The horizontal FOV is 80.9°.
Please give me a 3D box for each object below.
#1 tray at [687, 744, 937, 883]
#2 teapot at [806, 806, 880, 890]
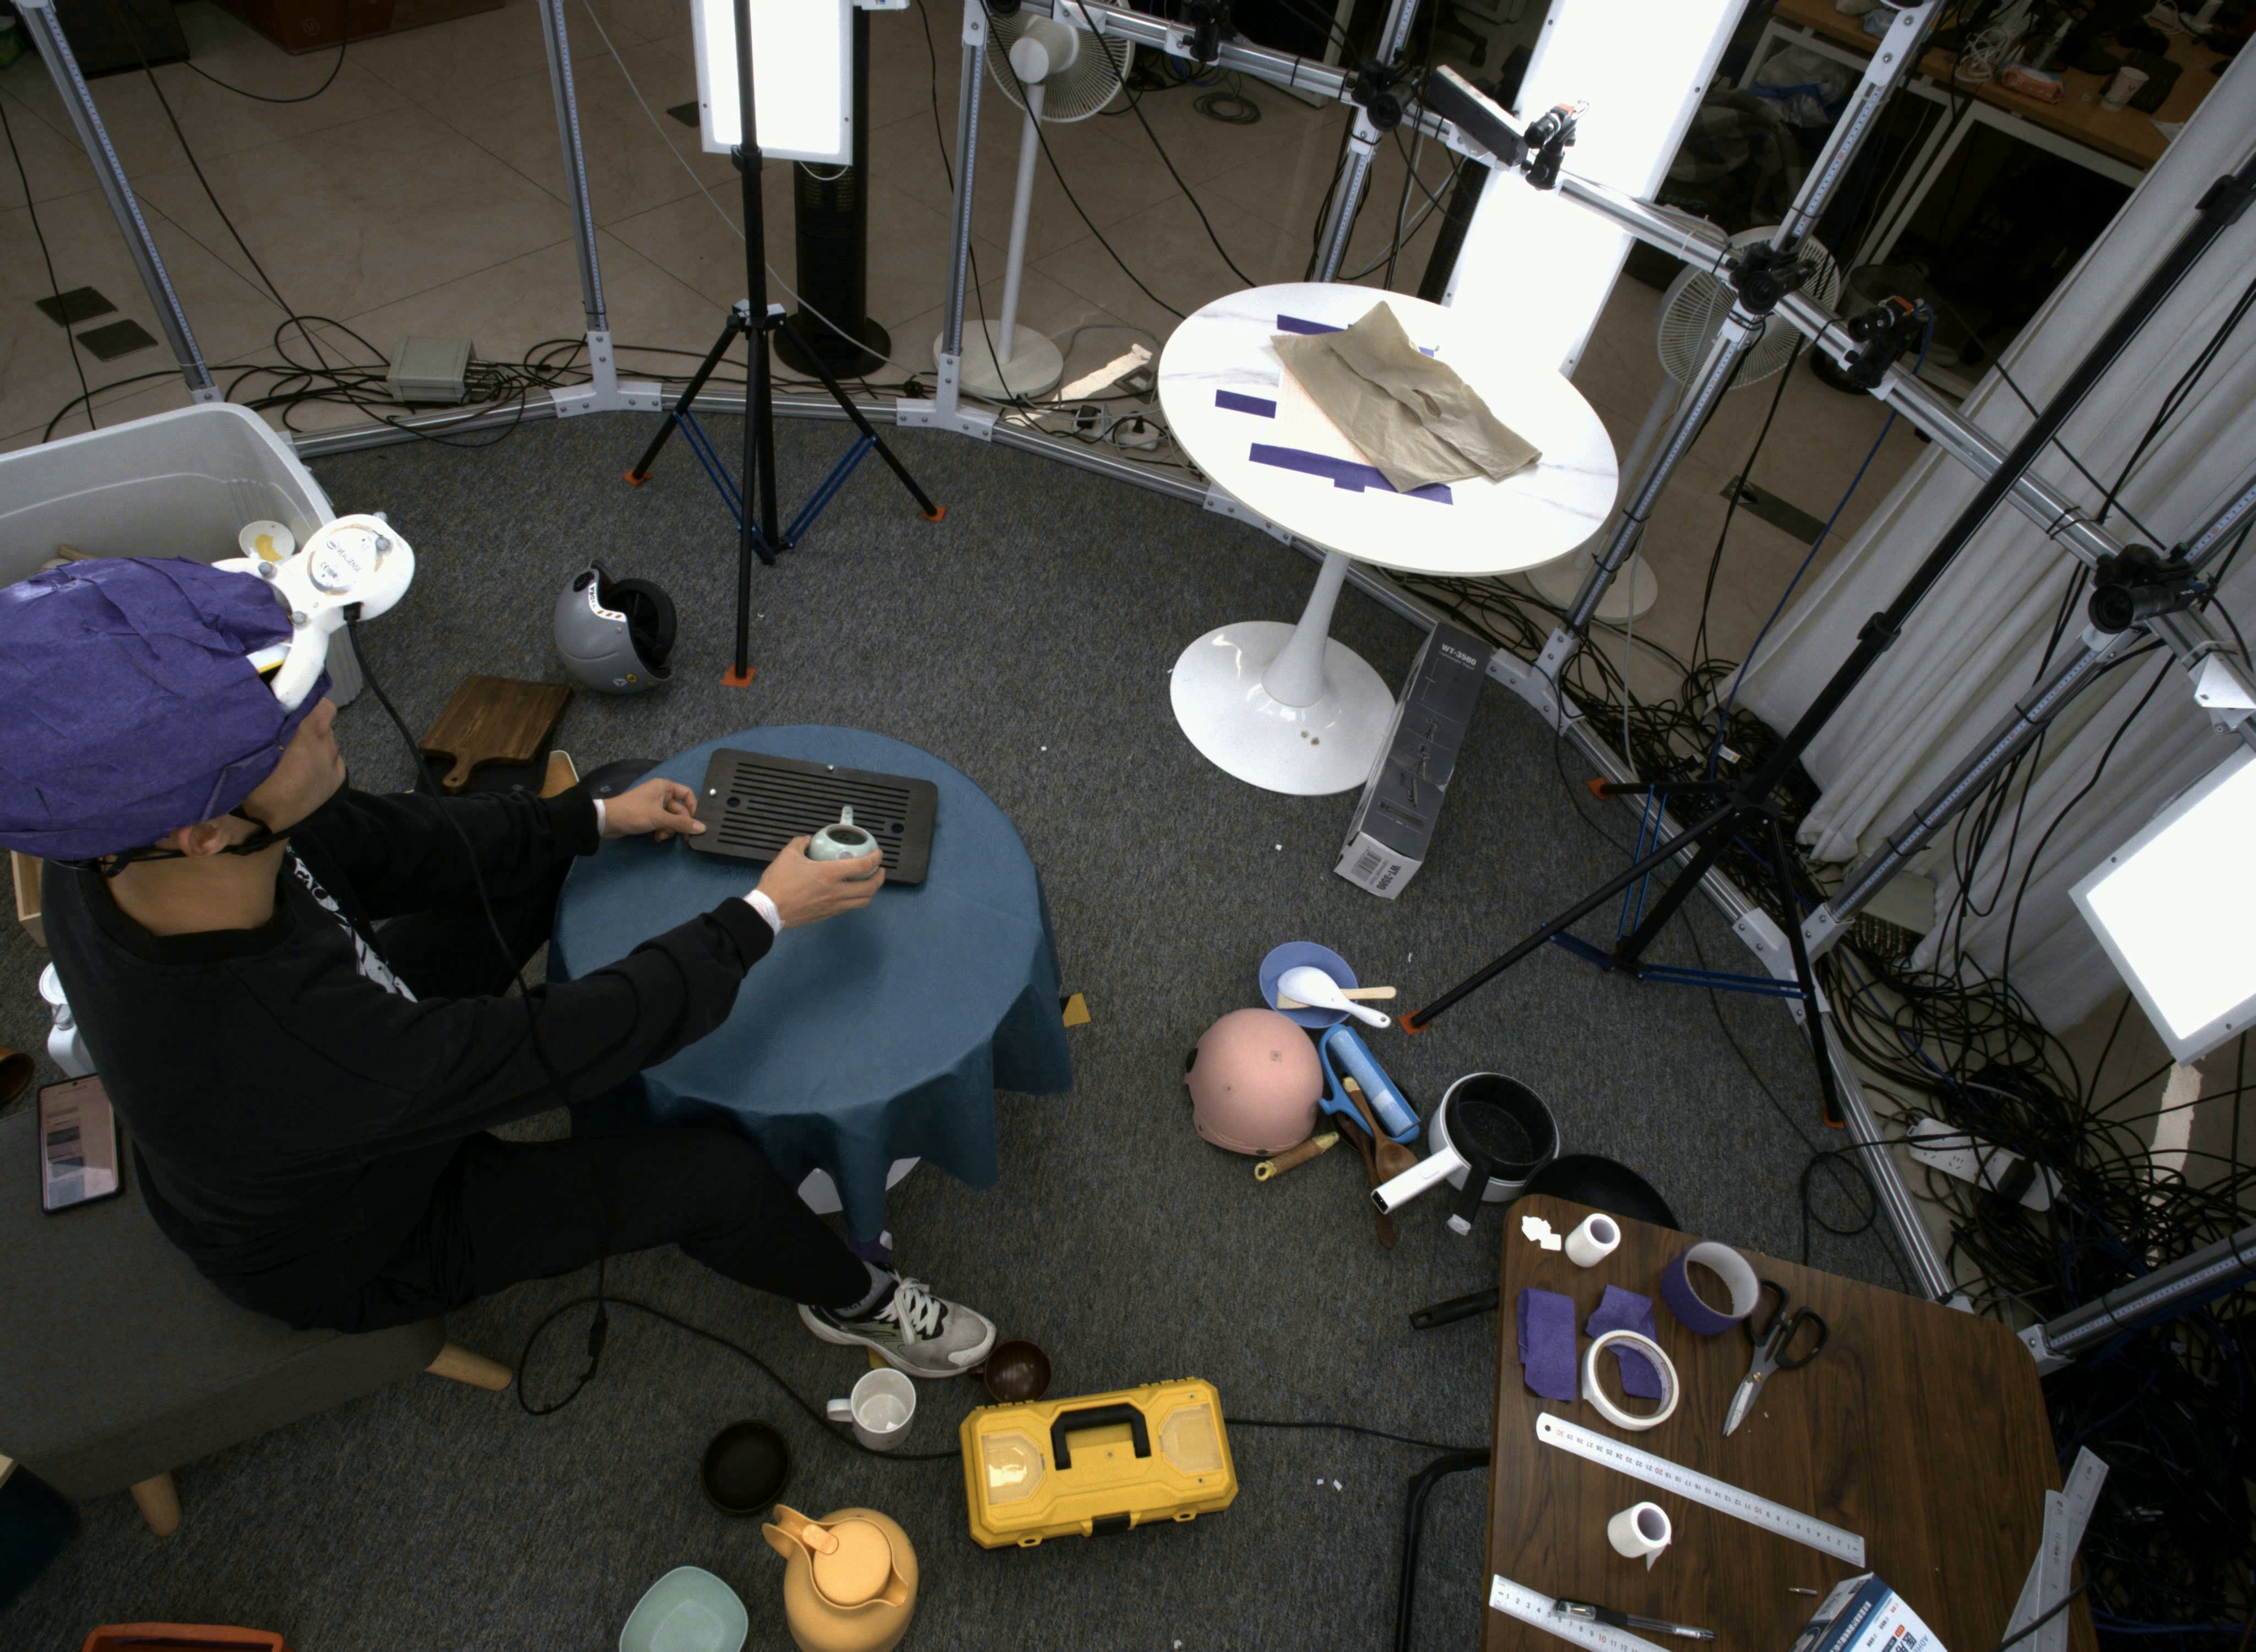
[{"bbox_3d":[-0.412,-0.016,1.712,0.306,0.019,0.167,9,54,-12],"label":"tray"},{"bbox_3d":[-0.345,0.033,1.570,0.089,0.076,0.140,8,23,-14],"label":"teapot"}]
